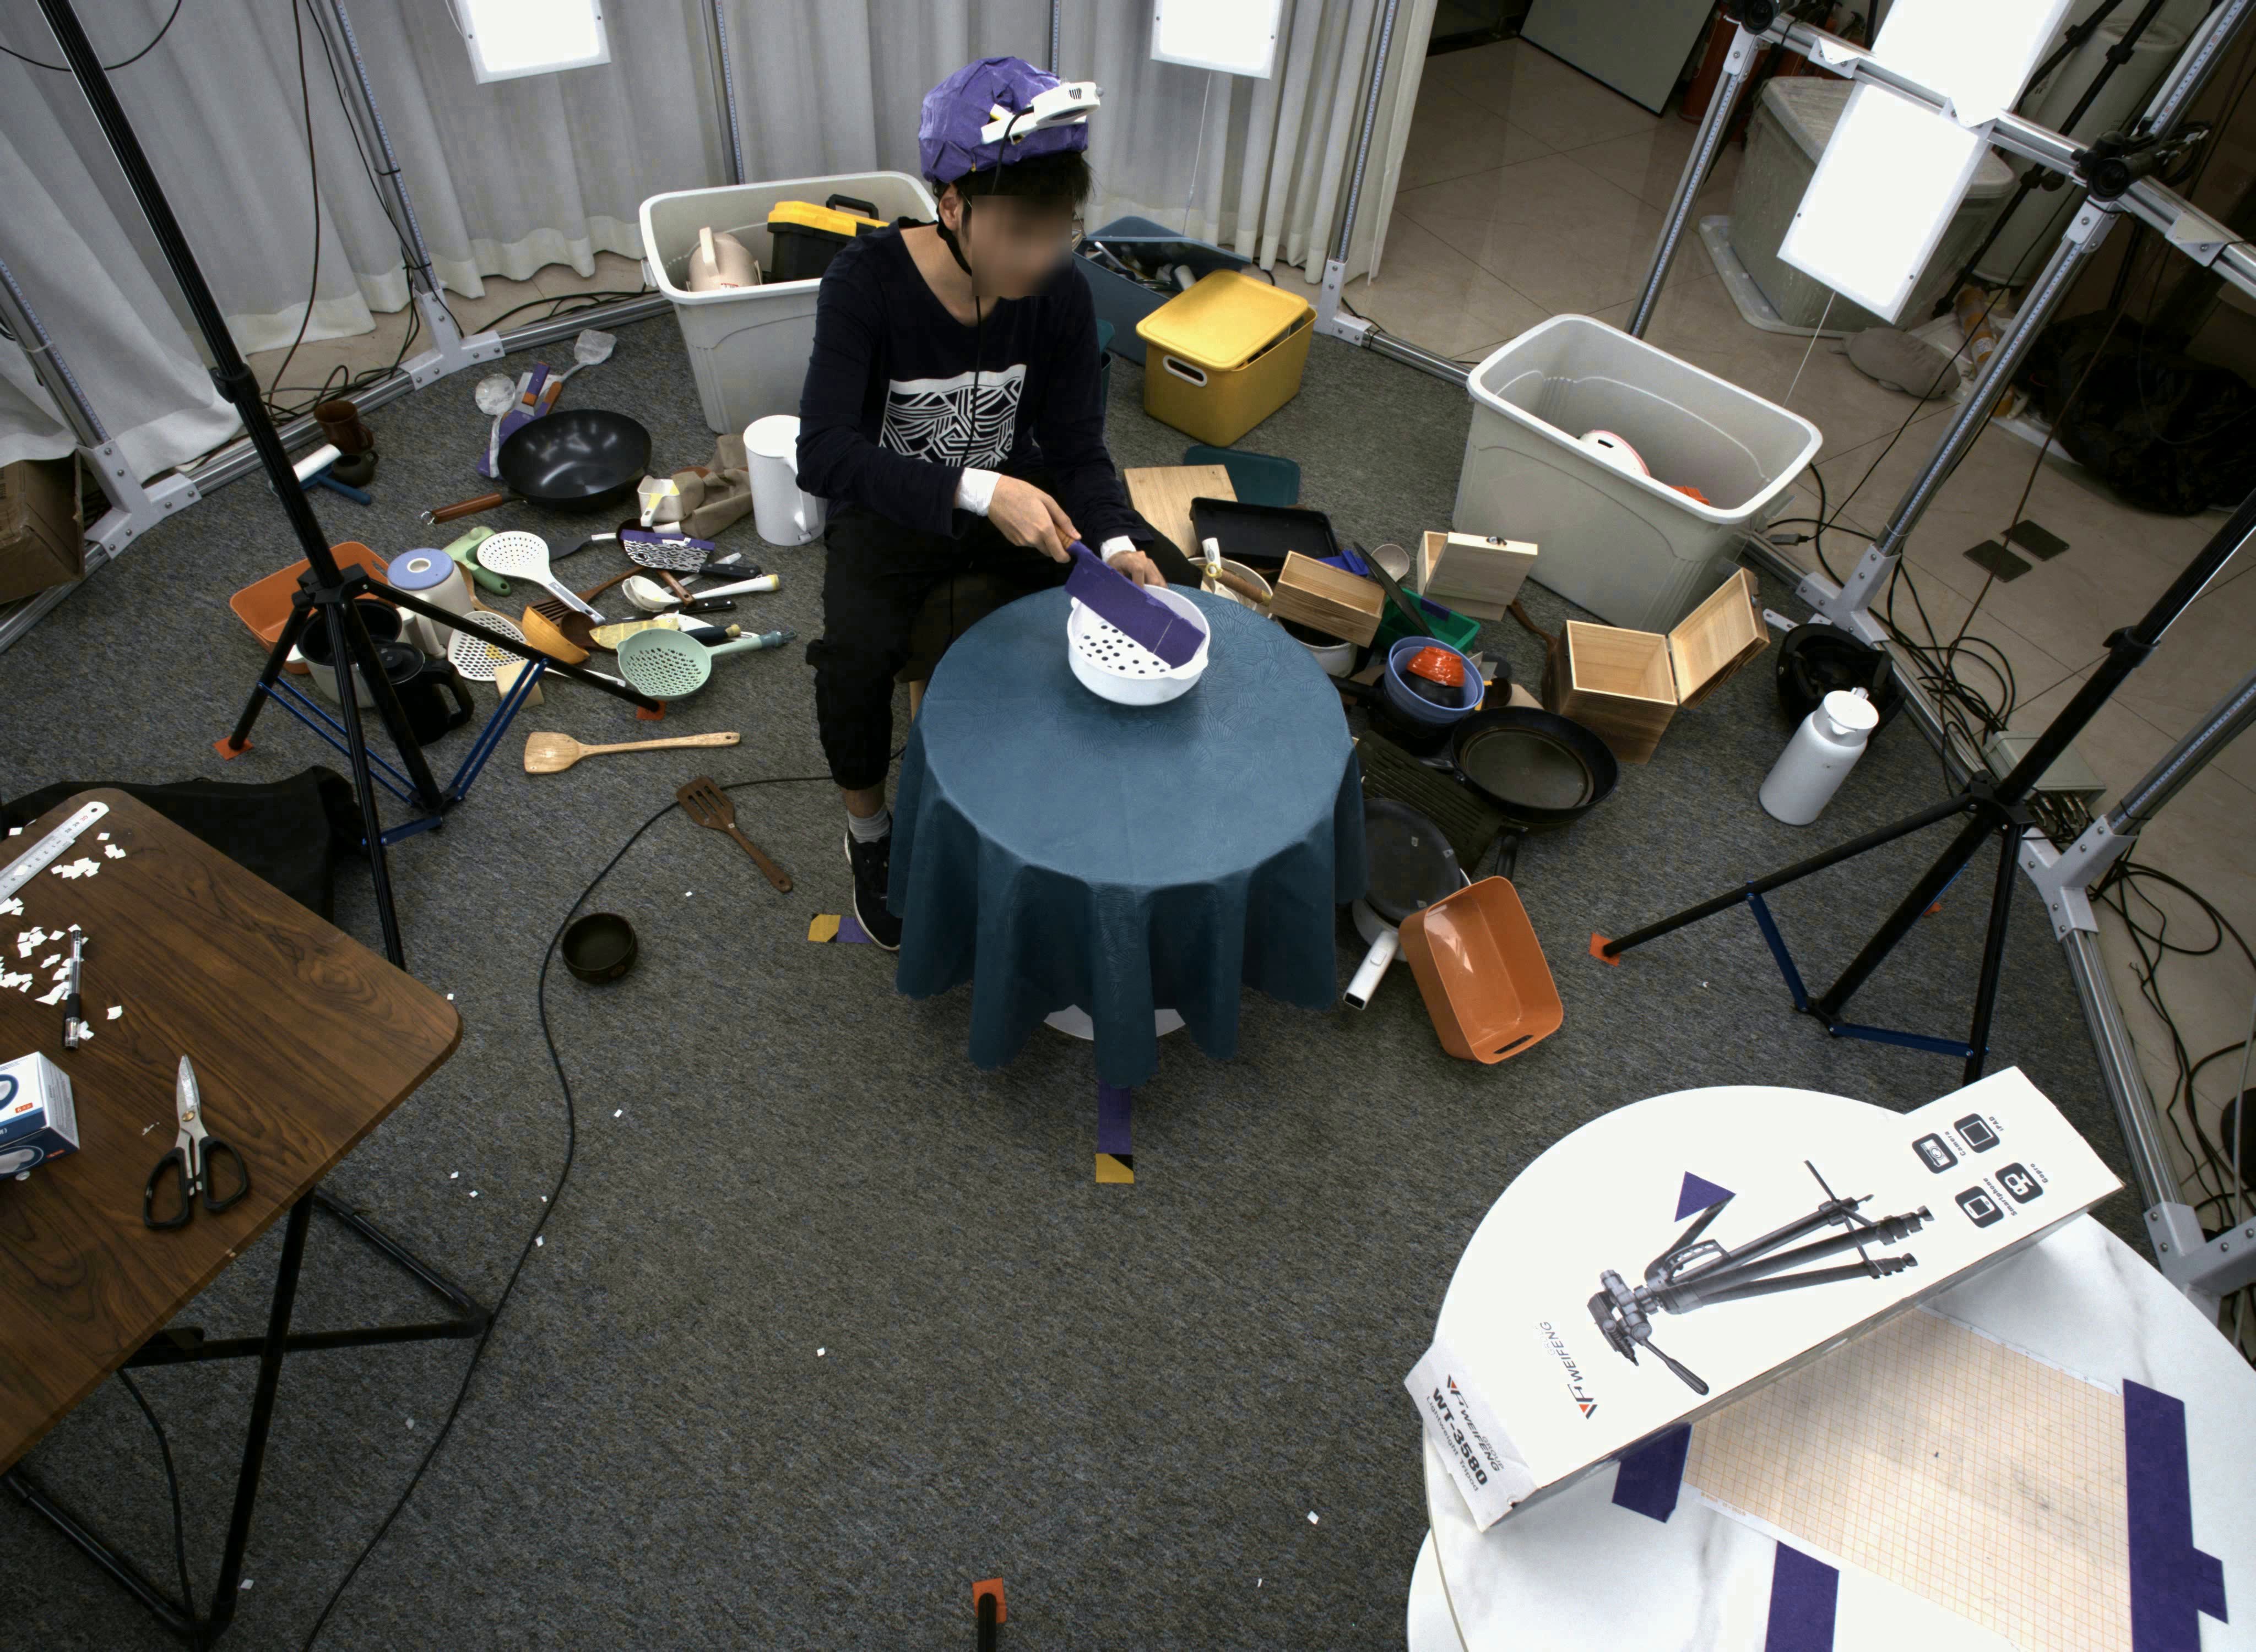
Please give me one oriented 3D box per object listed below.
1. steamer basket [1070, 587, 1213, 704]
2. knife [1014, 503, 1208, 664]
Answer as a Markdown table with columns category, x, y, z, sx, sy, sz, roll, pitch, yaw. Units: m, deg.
| category | x | y | z | sx | sy | sz | roll | pitch | yaw |
| --- | --- | --- | --- | --- | --- | --- | --- | --- | --- |
| steamer basket | 0.018 | -0.255 | 1.818 | 0.234 | 0.067 | 0.204 | 35 | 53 | 29 |
| knife | -0.034 | -0.327 | 1.789 | 0.316 | 0.102 | 0.033 | 37 | 51 | 4 |
